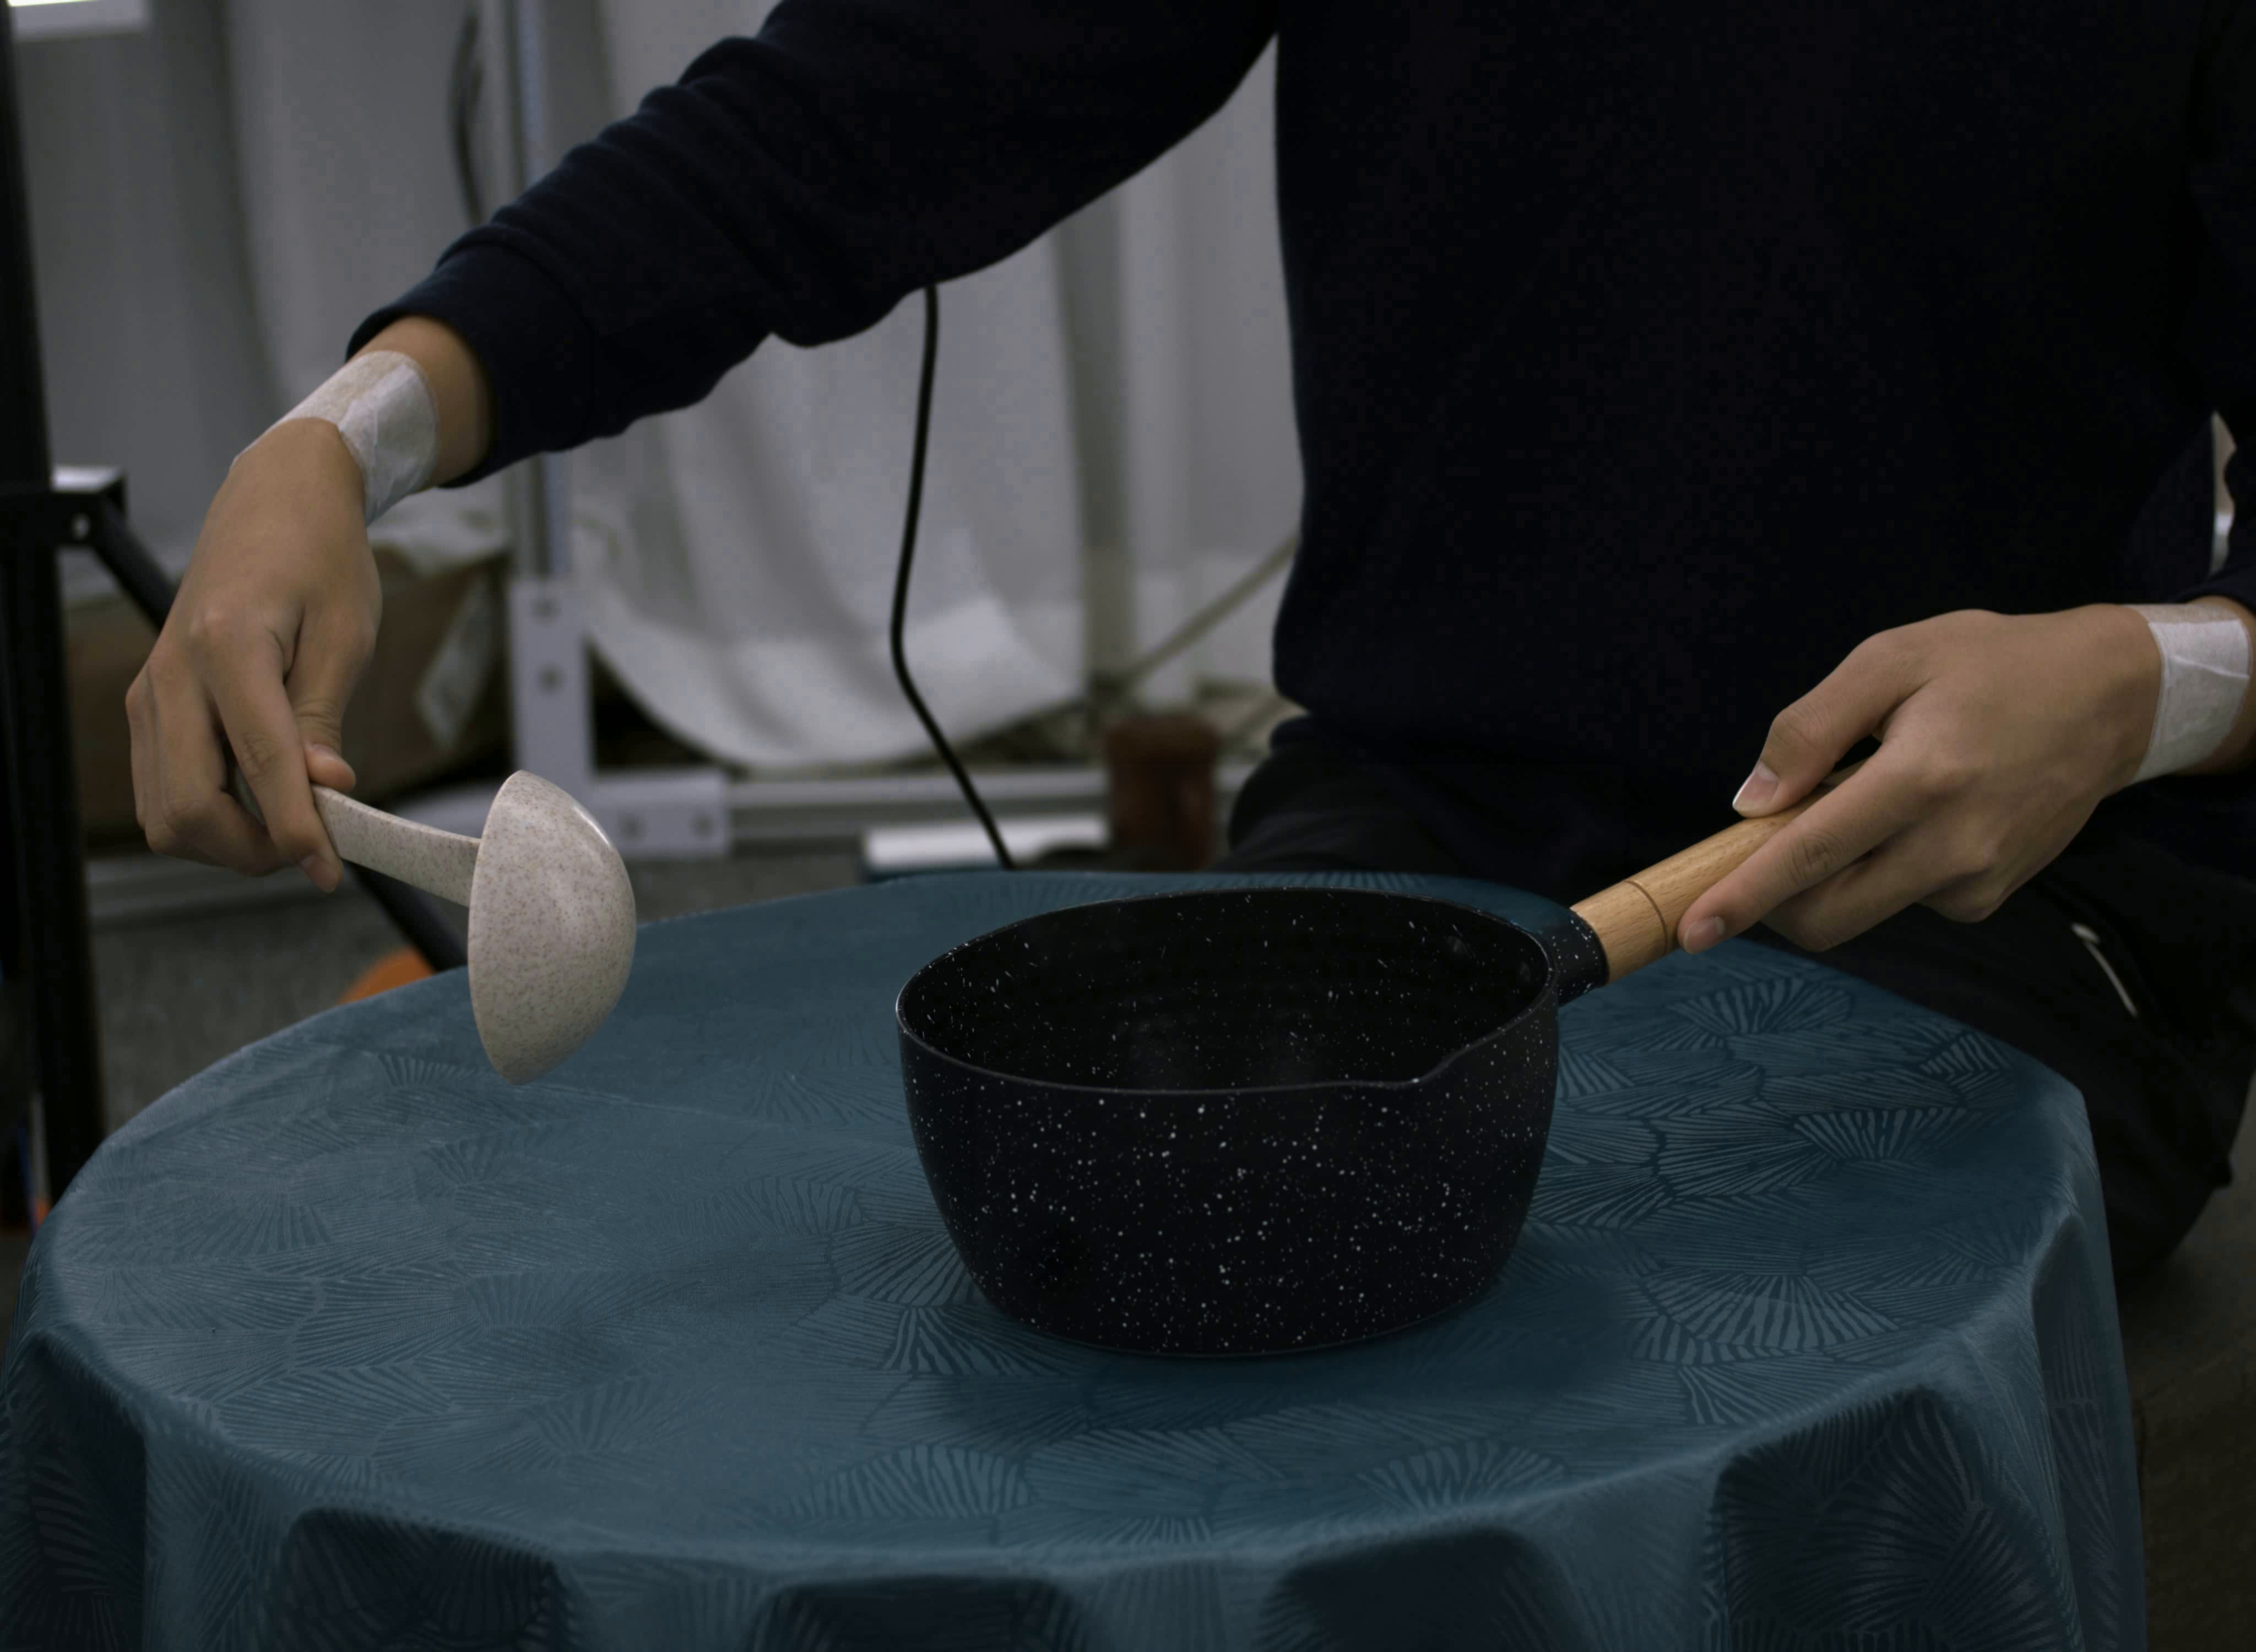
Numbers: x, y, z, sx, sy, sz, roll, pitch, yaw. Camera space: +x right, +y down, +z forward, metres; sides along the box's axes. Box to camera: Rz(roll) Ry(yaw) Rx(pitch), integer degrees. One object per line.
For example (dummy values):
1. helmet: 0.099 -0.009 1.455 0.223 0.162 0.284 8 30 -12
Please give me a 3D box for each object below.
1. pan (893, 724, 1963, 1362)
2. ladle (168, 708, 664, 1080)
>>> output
1. pan: 0.097 0.057 1.511 0.336 0.108 0.212 -14 18 -26
2. ladle: -0.233 0.003 1.574 0.067 0.089 0.281 -7 17 -41
